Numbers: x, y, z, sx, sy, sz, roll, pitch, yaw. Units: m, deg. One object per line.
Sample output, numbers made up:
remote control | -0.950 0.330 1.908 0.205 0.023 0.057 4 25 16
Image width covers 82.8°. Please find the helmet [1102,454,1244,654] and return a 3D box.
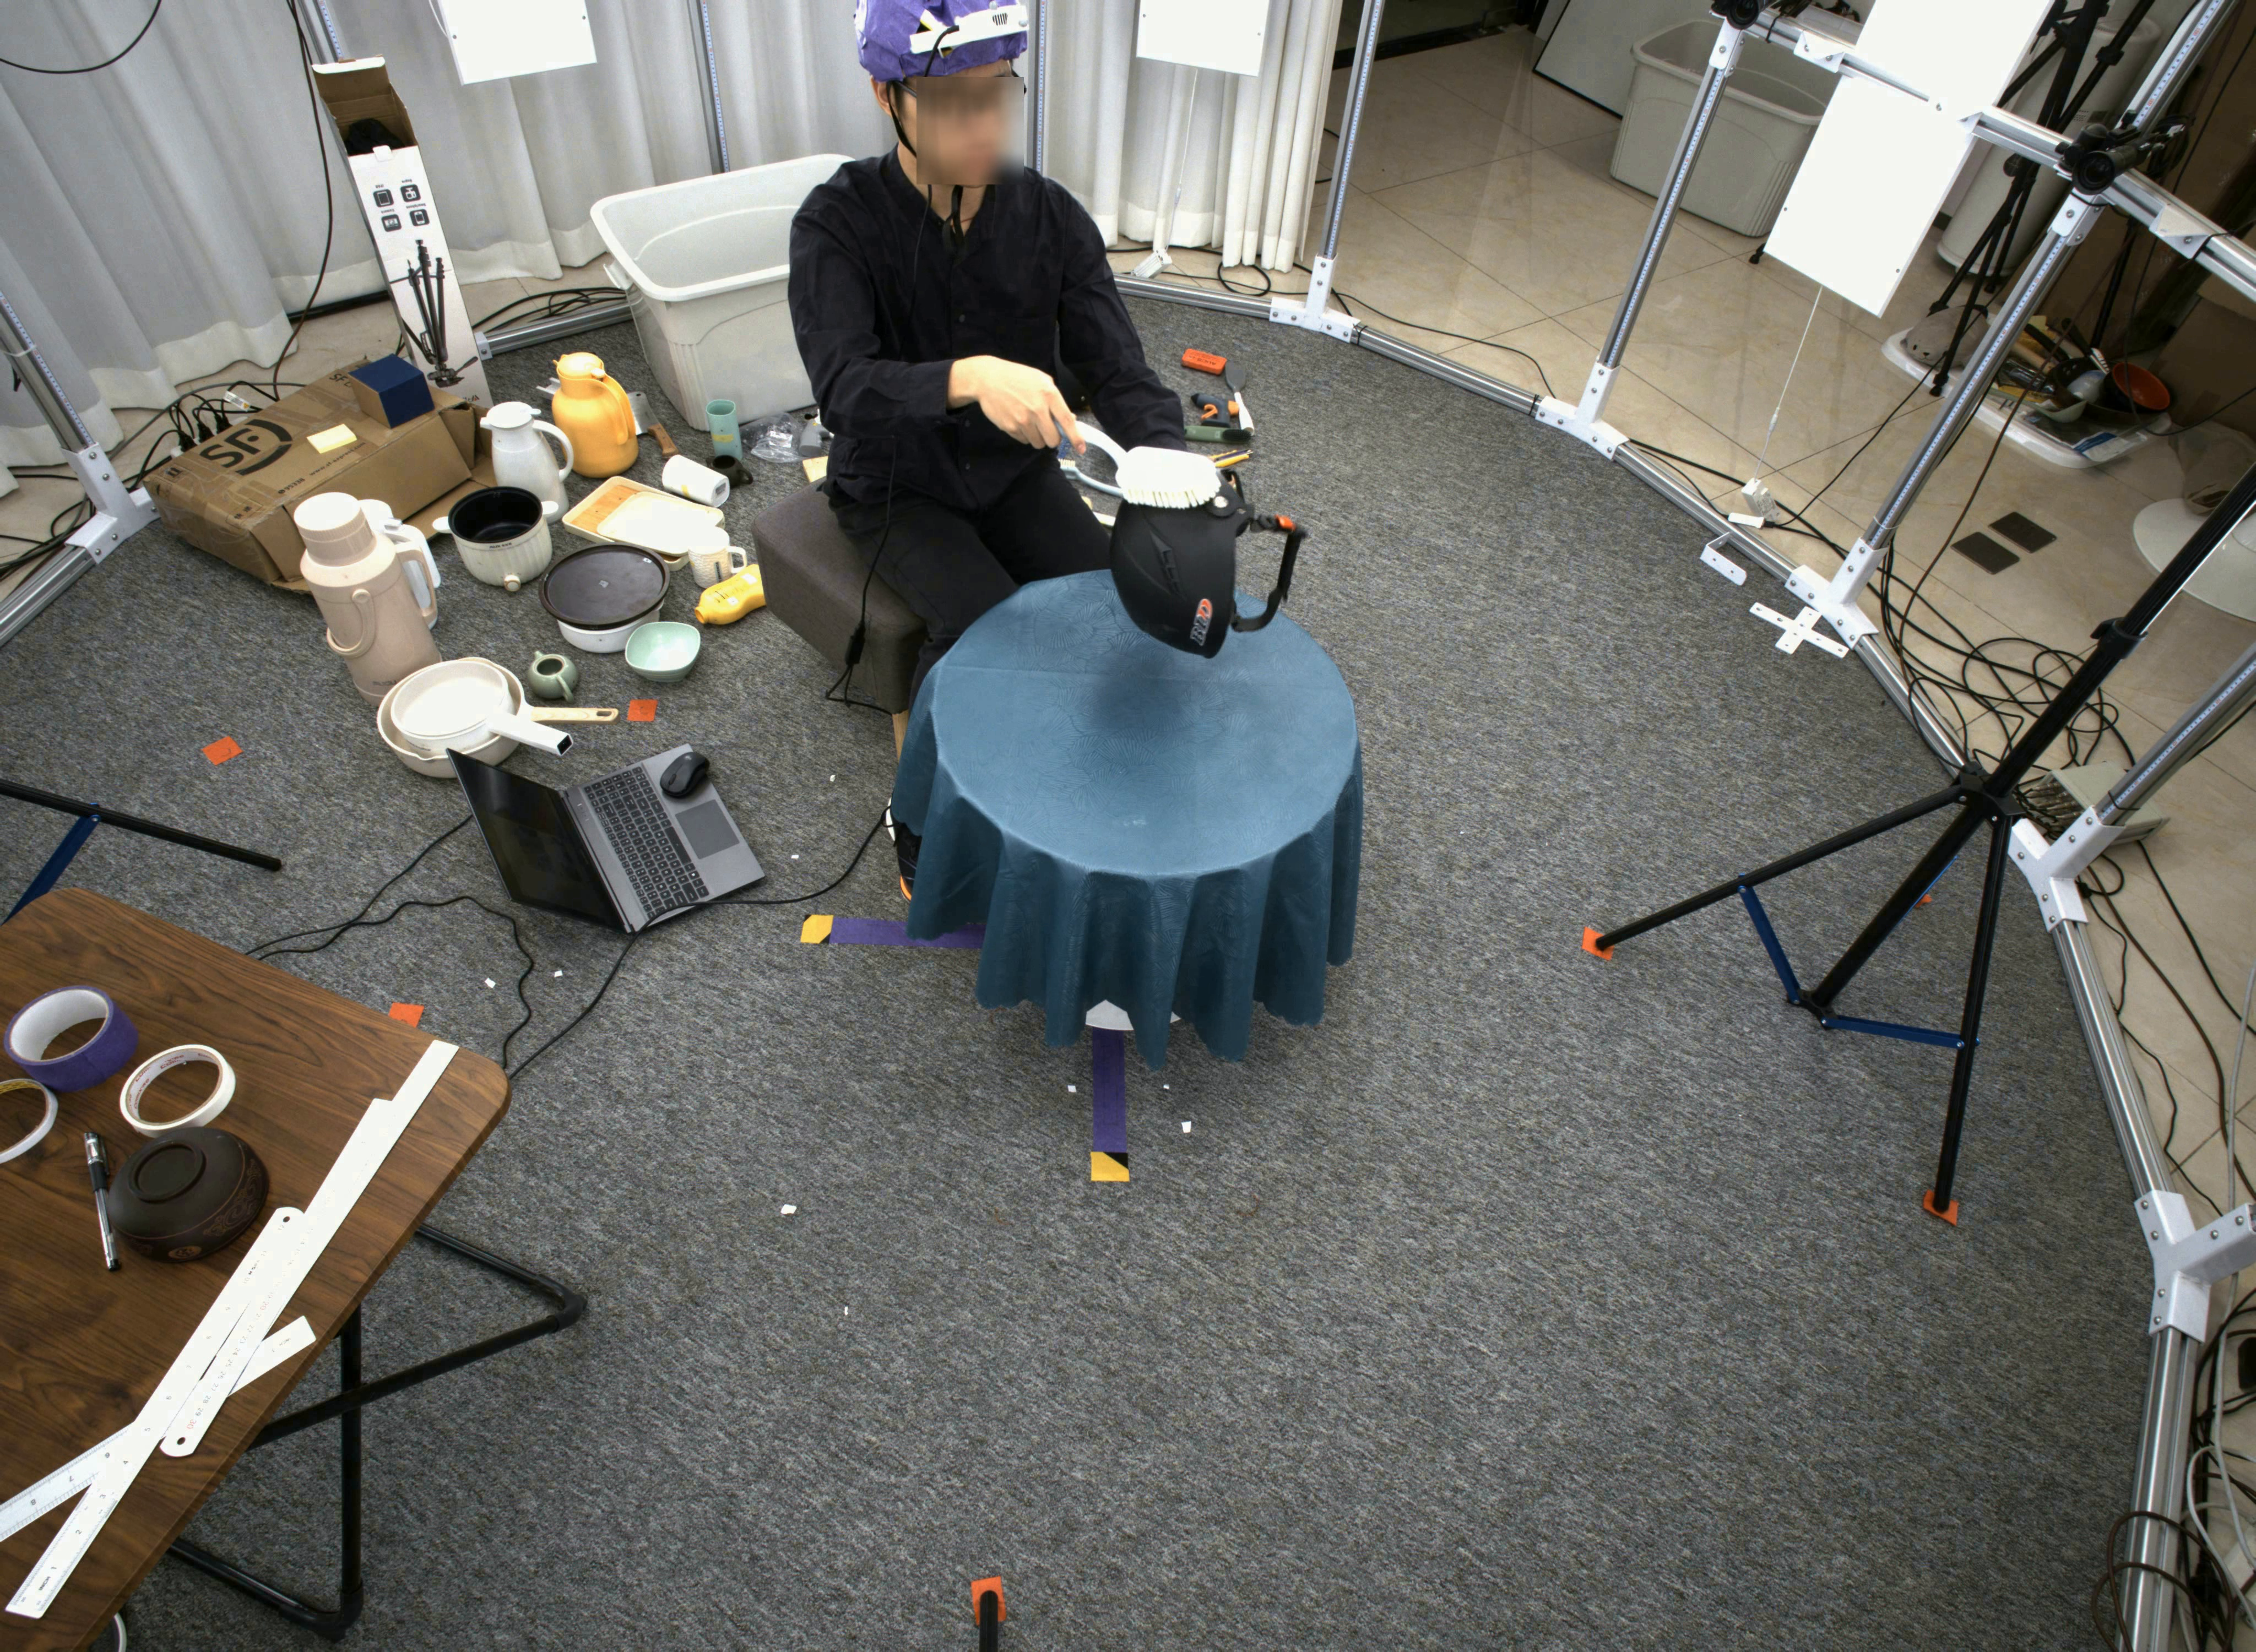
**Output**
helmet | 0.054 -0.361 1.702 0.172 0.241 0.284 2 49 -10

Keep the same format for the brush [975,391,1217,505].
brush | -0.041 -0.474 1.641 0.327 0.083 0.084 19 26 13
